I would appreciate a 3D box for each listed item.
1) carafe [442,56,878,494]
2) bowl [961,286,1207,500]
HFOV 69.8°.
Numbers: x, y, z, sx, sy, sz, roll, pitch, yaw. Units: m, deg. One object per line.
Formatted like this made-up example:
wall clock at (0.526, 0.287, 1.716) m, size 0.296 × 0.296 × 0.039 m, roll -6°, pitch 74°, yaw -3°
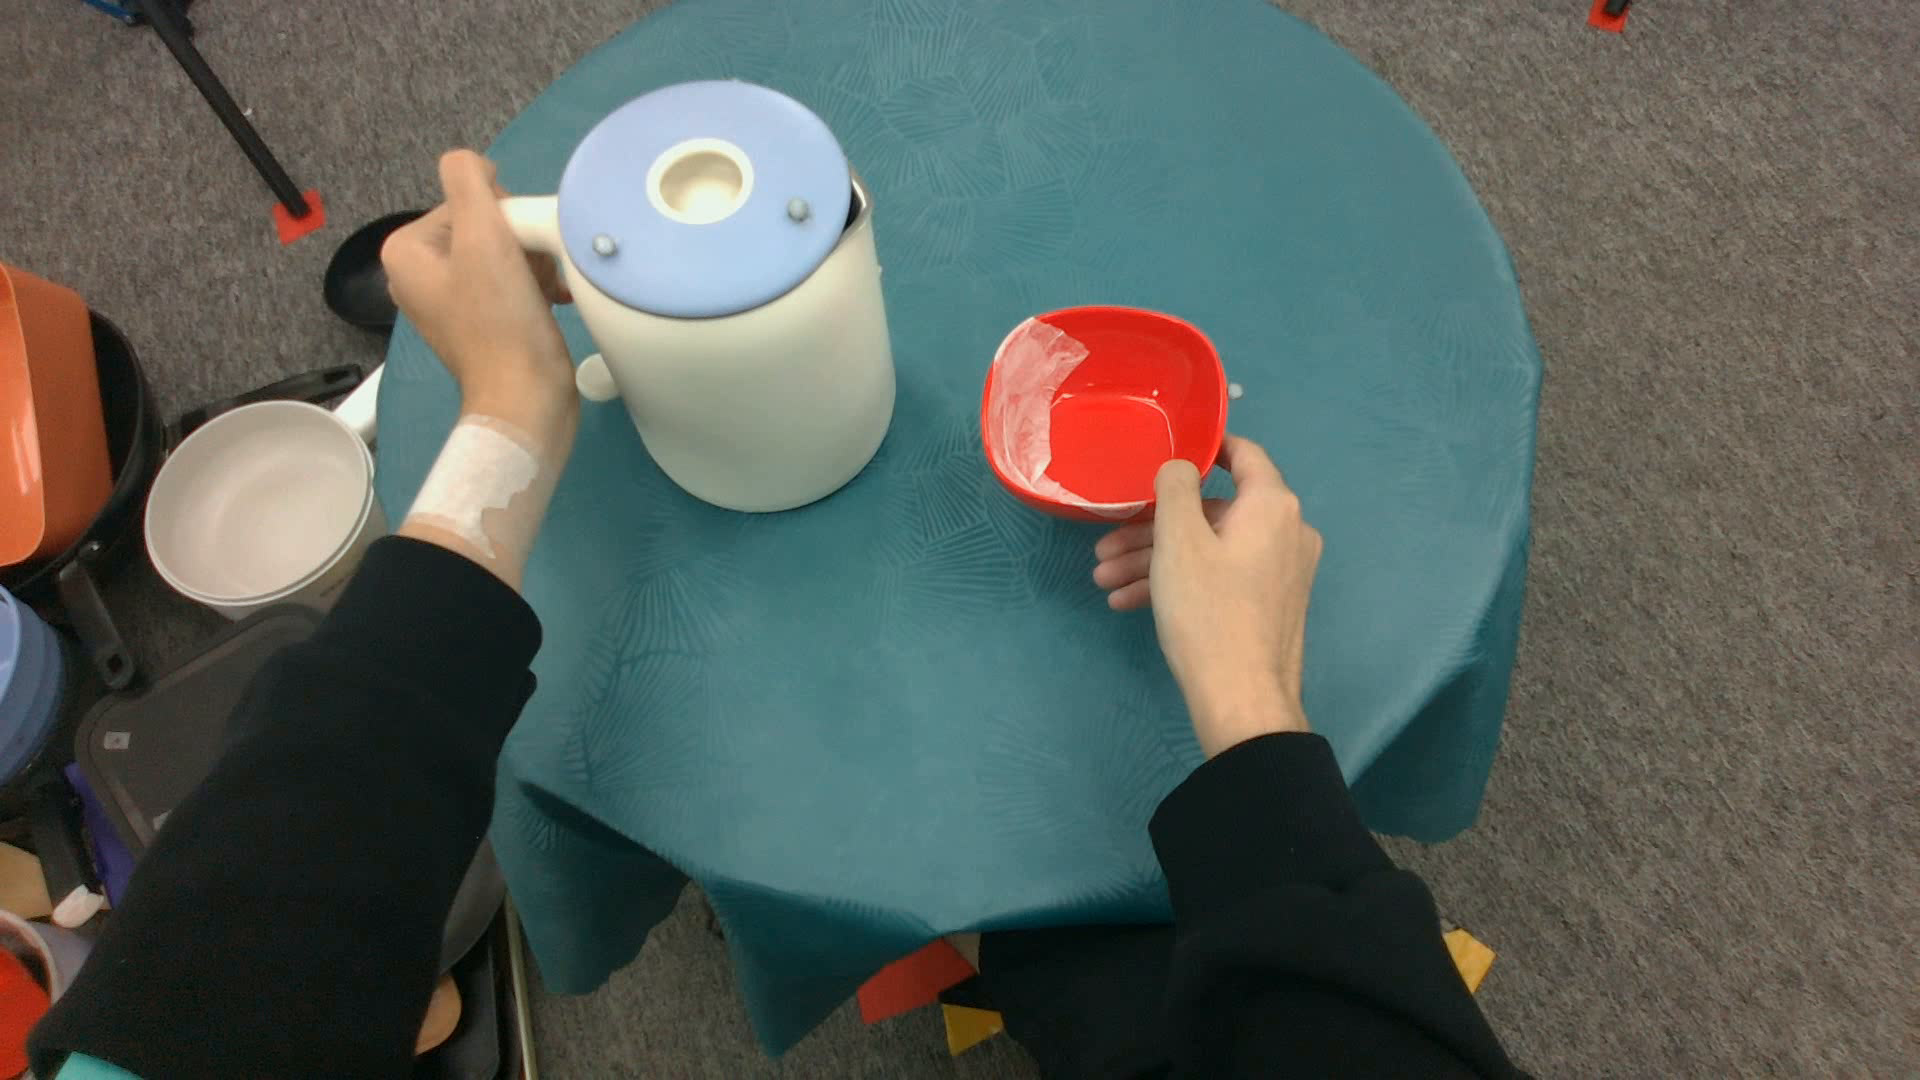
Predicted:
carafe at (-0.133, -0.115, 0.629) m, size 0.191 × 0.182 × 0.133 m, roll 0°, pitch 64°, yaw 4°
bowl at (0.057, -0.060, 0.639) m, size 0.119 × 0.051 × 0.119 m, roll -1°, pitch 59°, yaw 2°
